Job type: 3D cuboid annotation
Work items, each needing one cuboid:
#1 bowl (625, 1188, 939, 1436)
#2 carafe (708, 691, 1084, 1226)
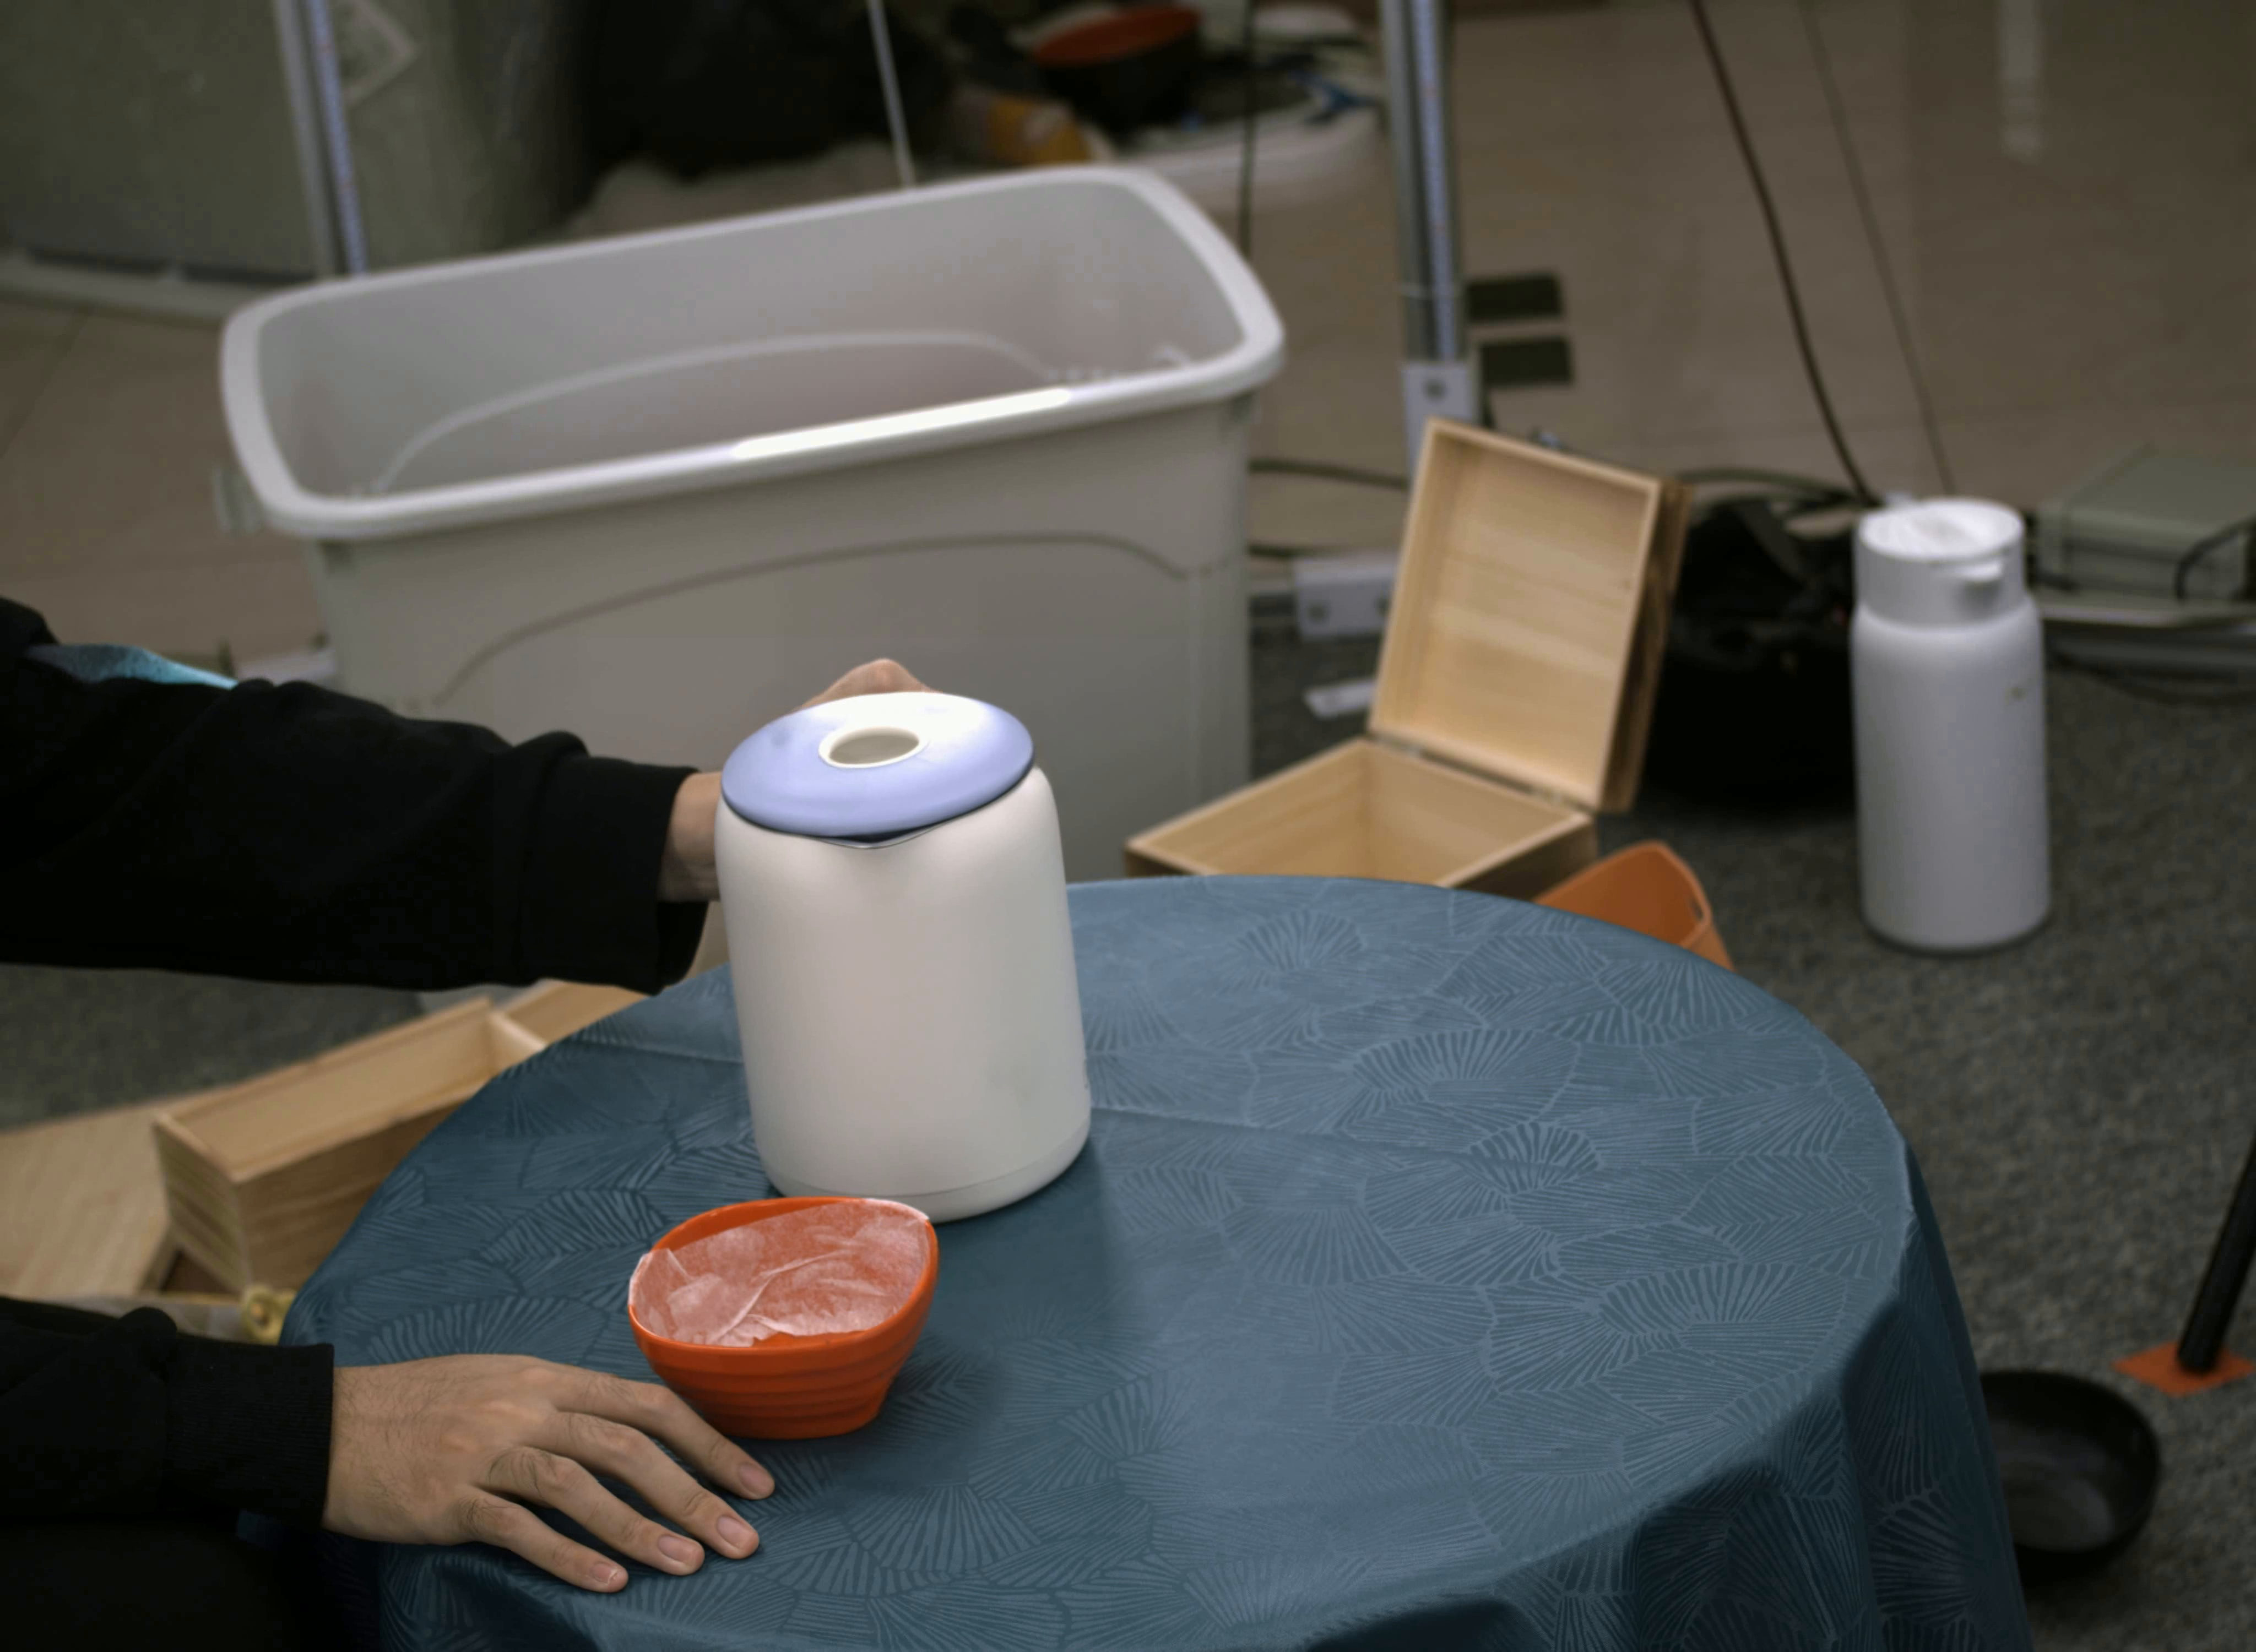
[{"bbox_3d":[-0.121,0.178,2.025,0.119,0.052,0.117,-3,28,2],"label":"bowl"},{"bbox_3d":[-0.090,0.041,2.173,0.132,0.185,0.188,-6,23,-2],"label":"carafe"}]
